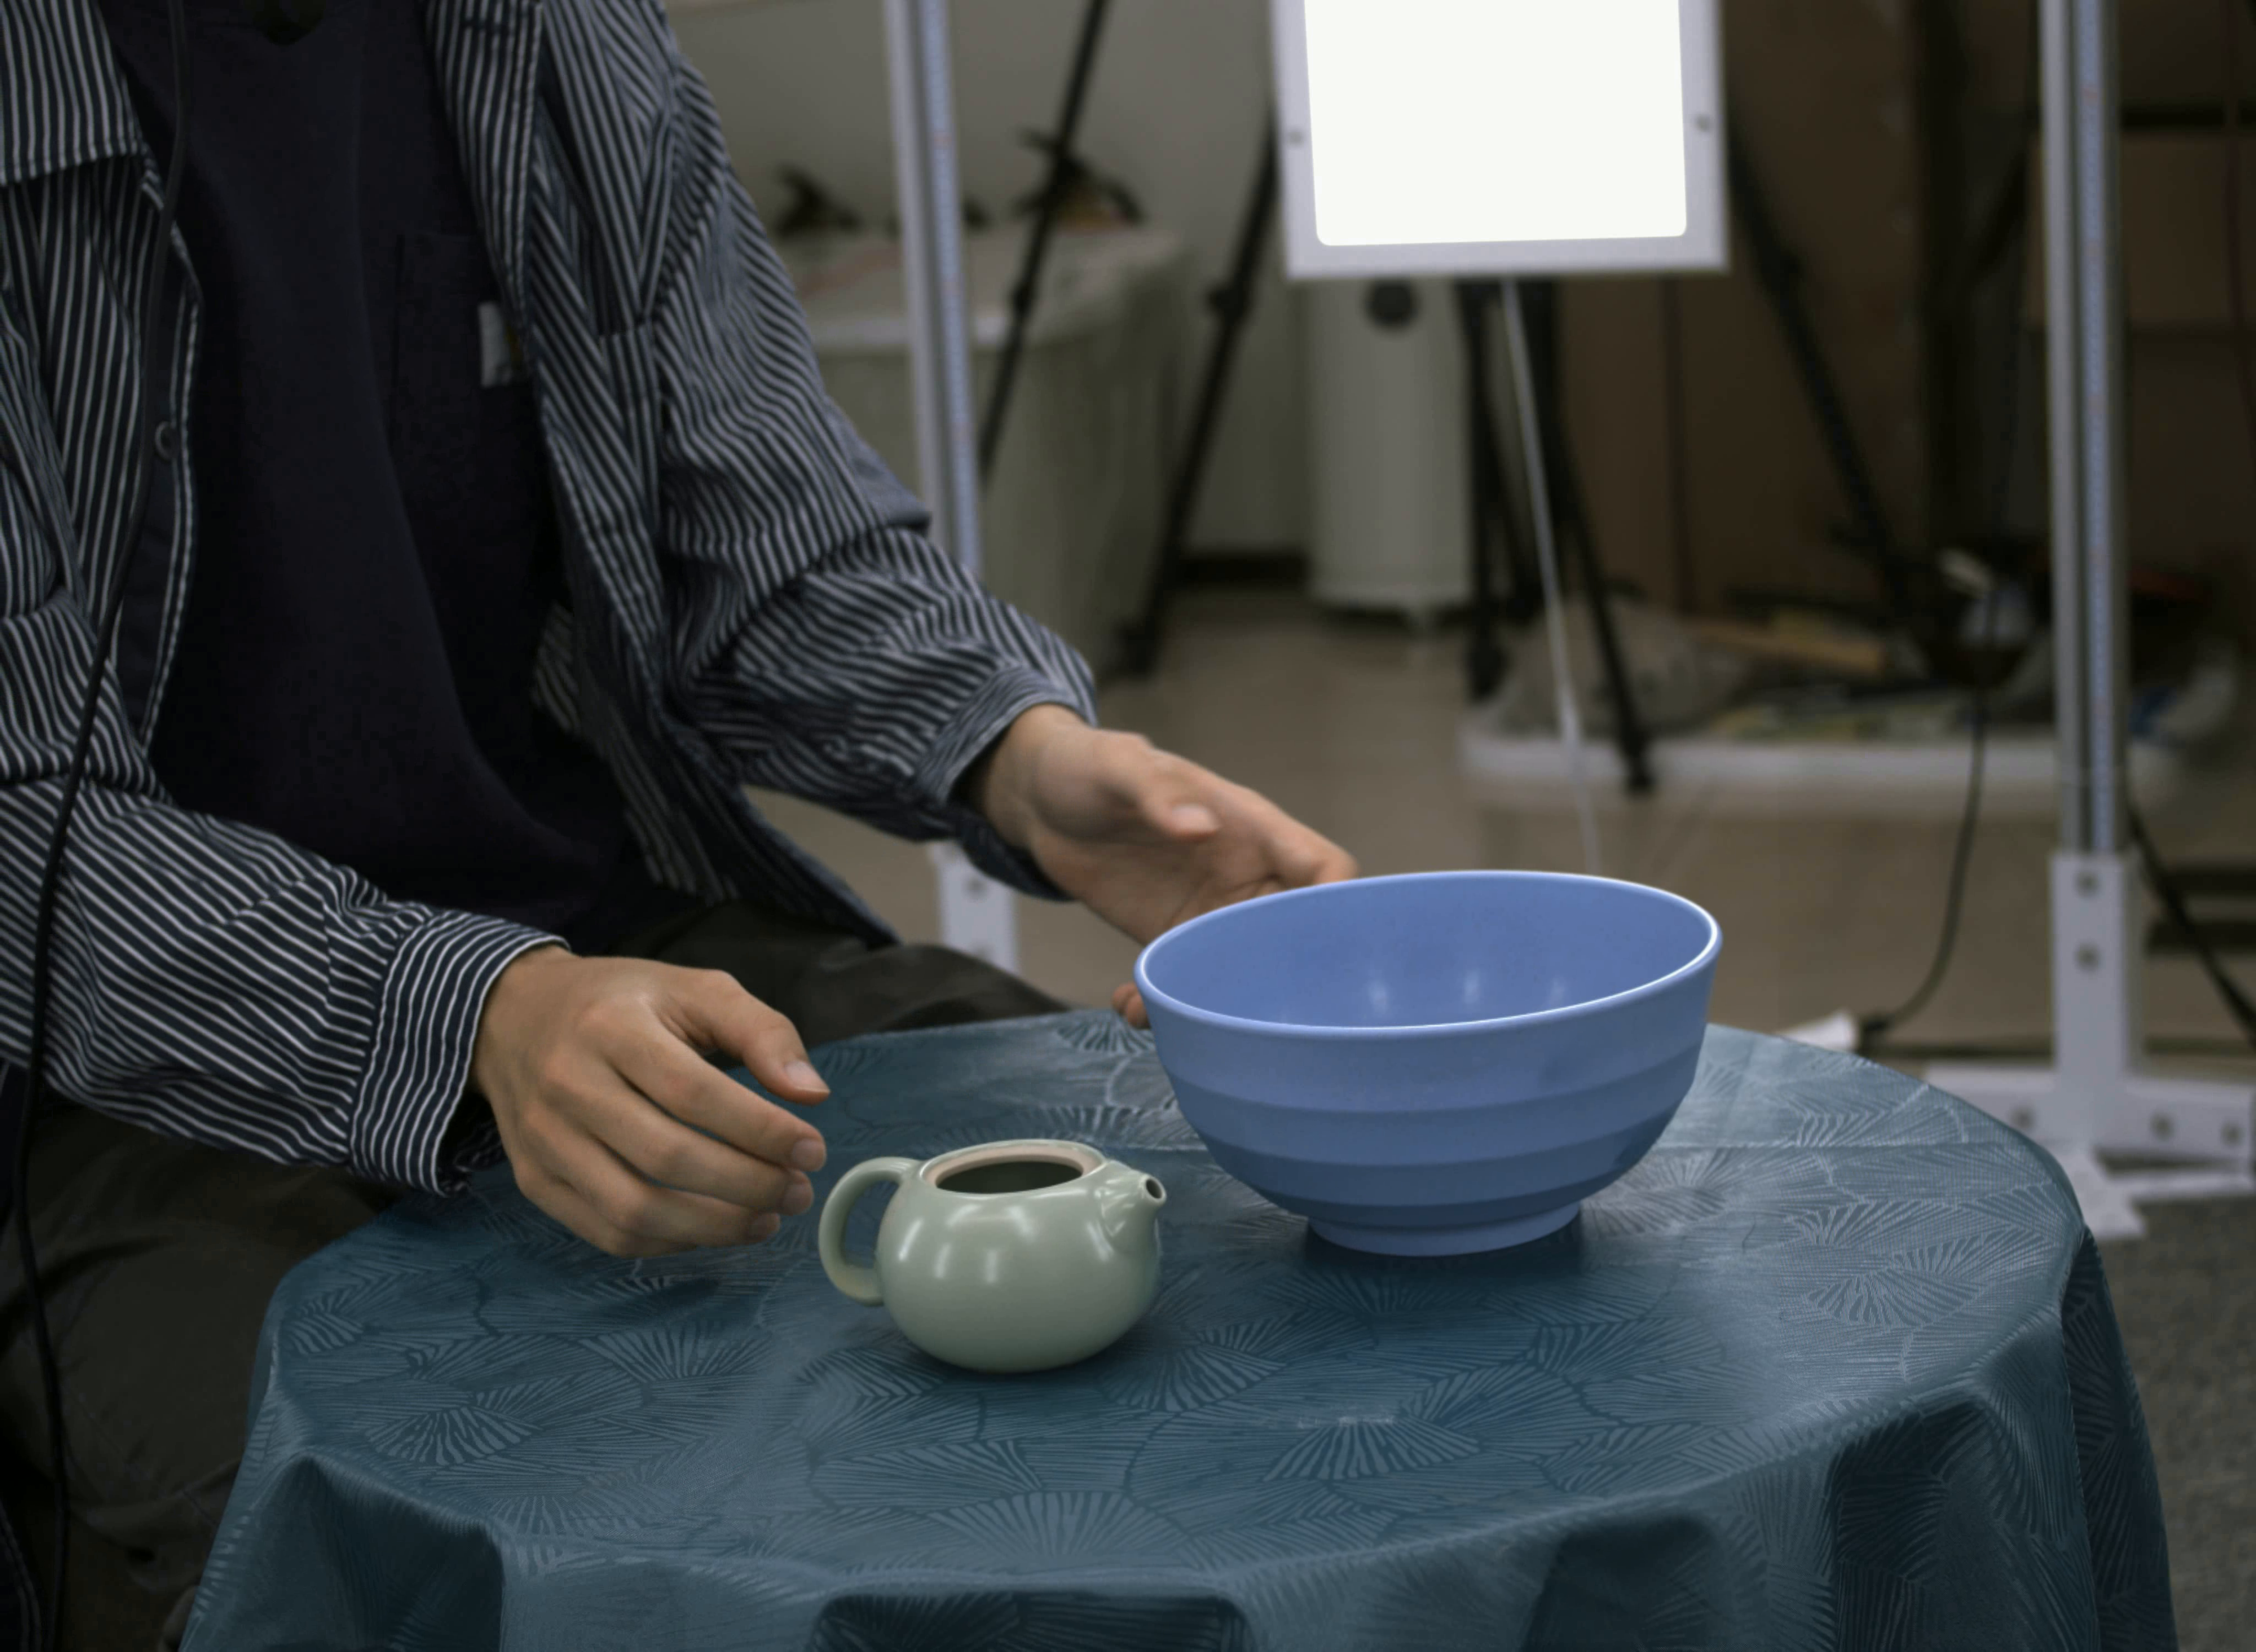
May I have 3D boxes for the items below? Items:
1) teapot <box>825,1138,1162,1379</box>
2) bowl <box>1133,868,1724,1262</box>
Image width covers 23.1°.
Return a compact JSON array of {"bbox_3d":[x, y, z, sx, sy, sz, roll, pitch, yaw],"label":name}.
[{"bbox_3d":[-0.043,0.136,1.746,0.131,0.061,0.089,3,18,34],"label":"teapot"},{"bbox_3d":[0.103,0.085,1.829,0.196,0.096,0.196,-6,14,0],"label":"bowl"}]
